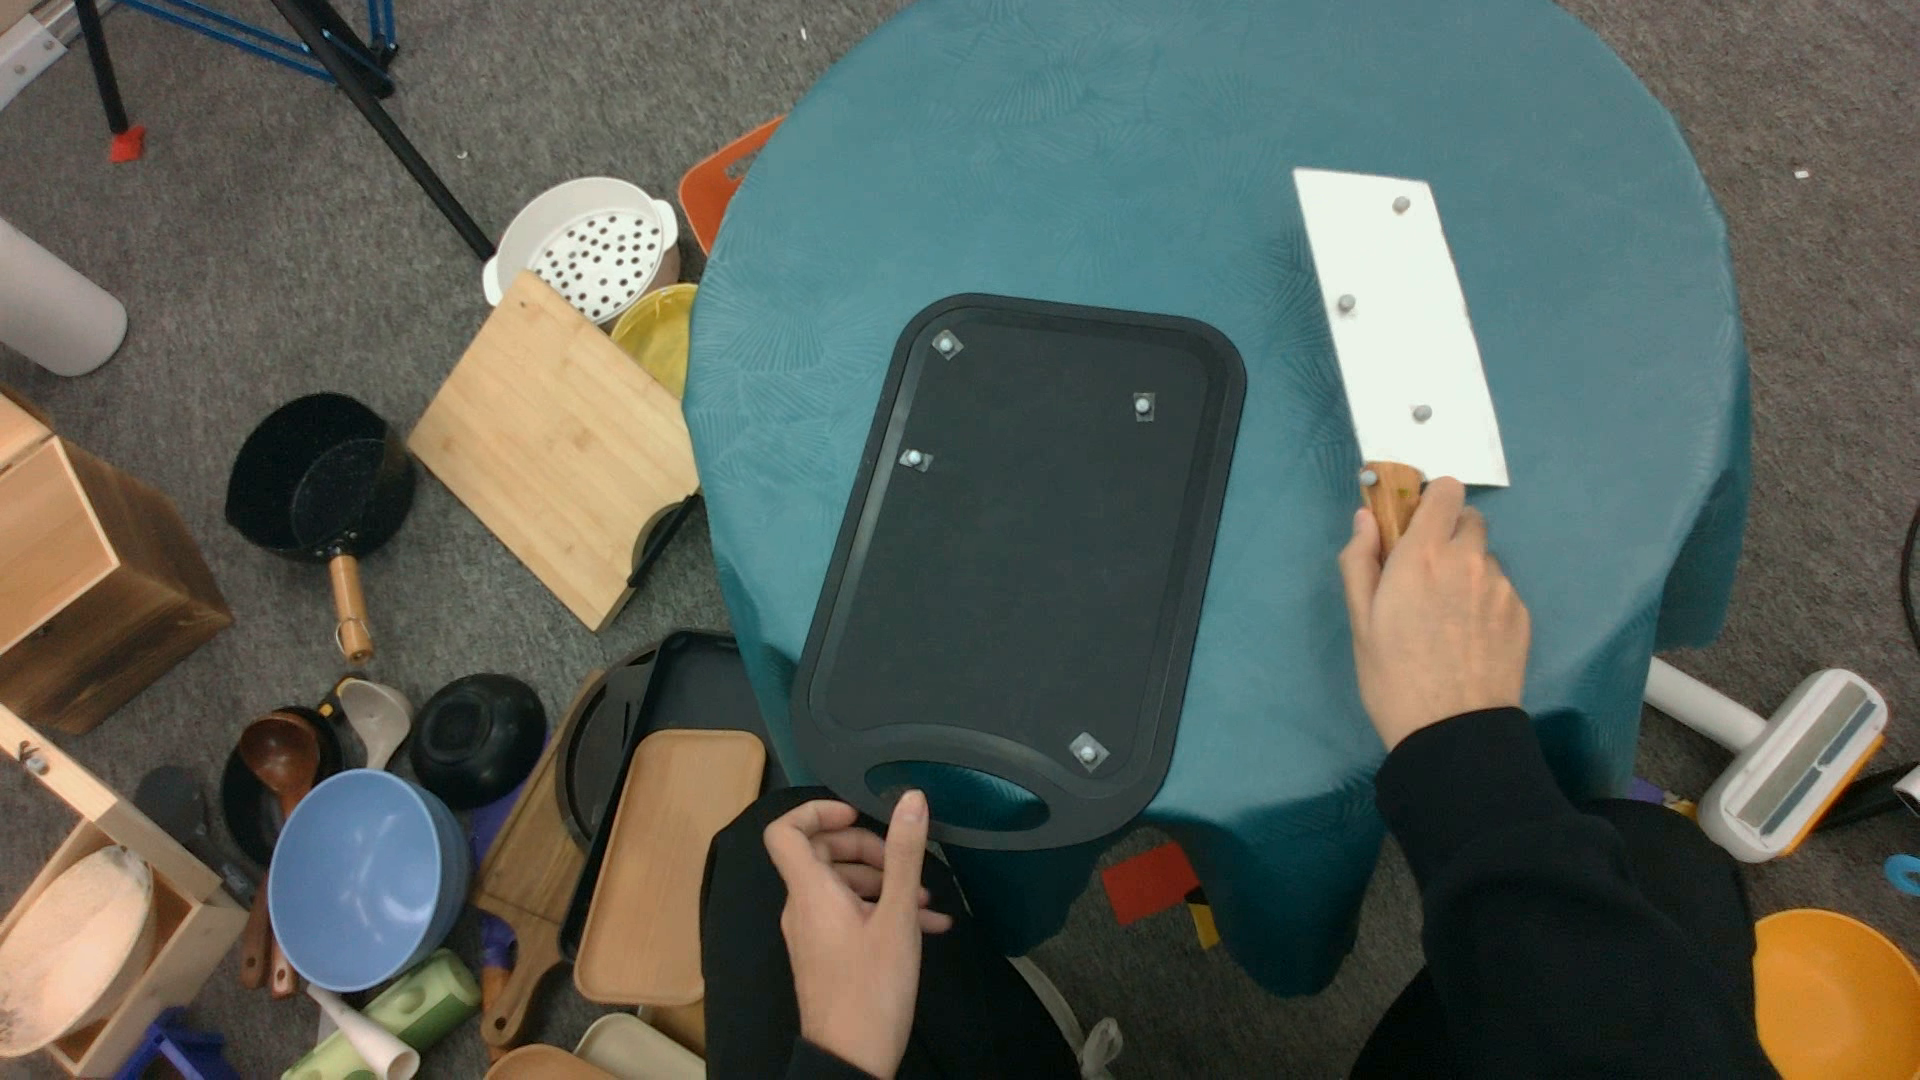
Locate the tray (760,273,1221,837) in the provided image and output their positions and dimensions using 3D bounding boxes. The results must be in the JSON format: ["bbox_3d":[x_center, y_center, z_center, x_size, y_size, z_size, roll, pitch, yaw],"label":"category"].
[{"bbox_3d":[0.017,-0.002,0.754,0.211,0.010,0.326,10,70,14],"label":"tray"}]

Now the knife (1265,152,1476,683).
[{"bbox_3d":[0.226,-0.075,0.723,0.093,0.021,0.306,1,69,-22],"label":"knife"}]
